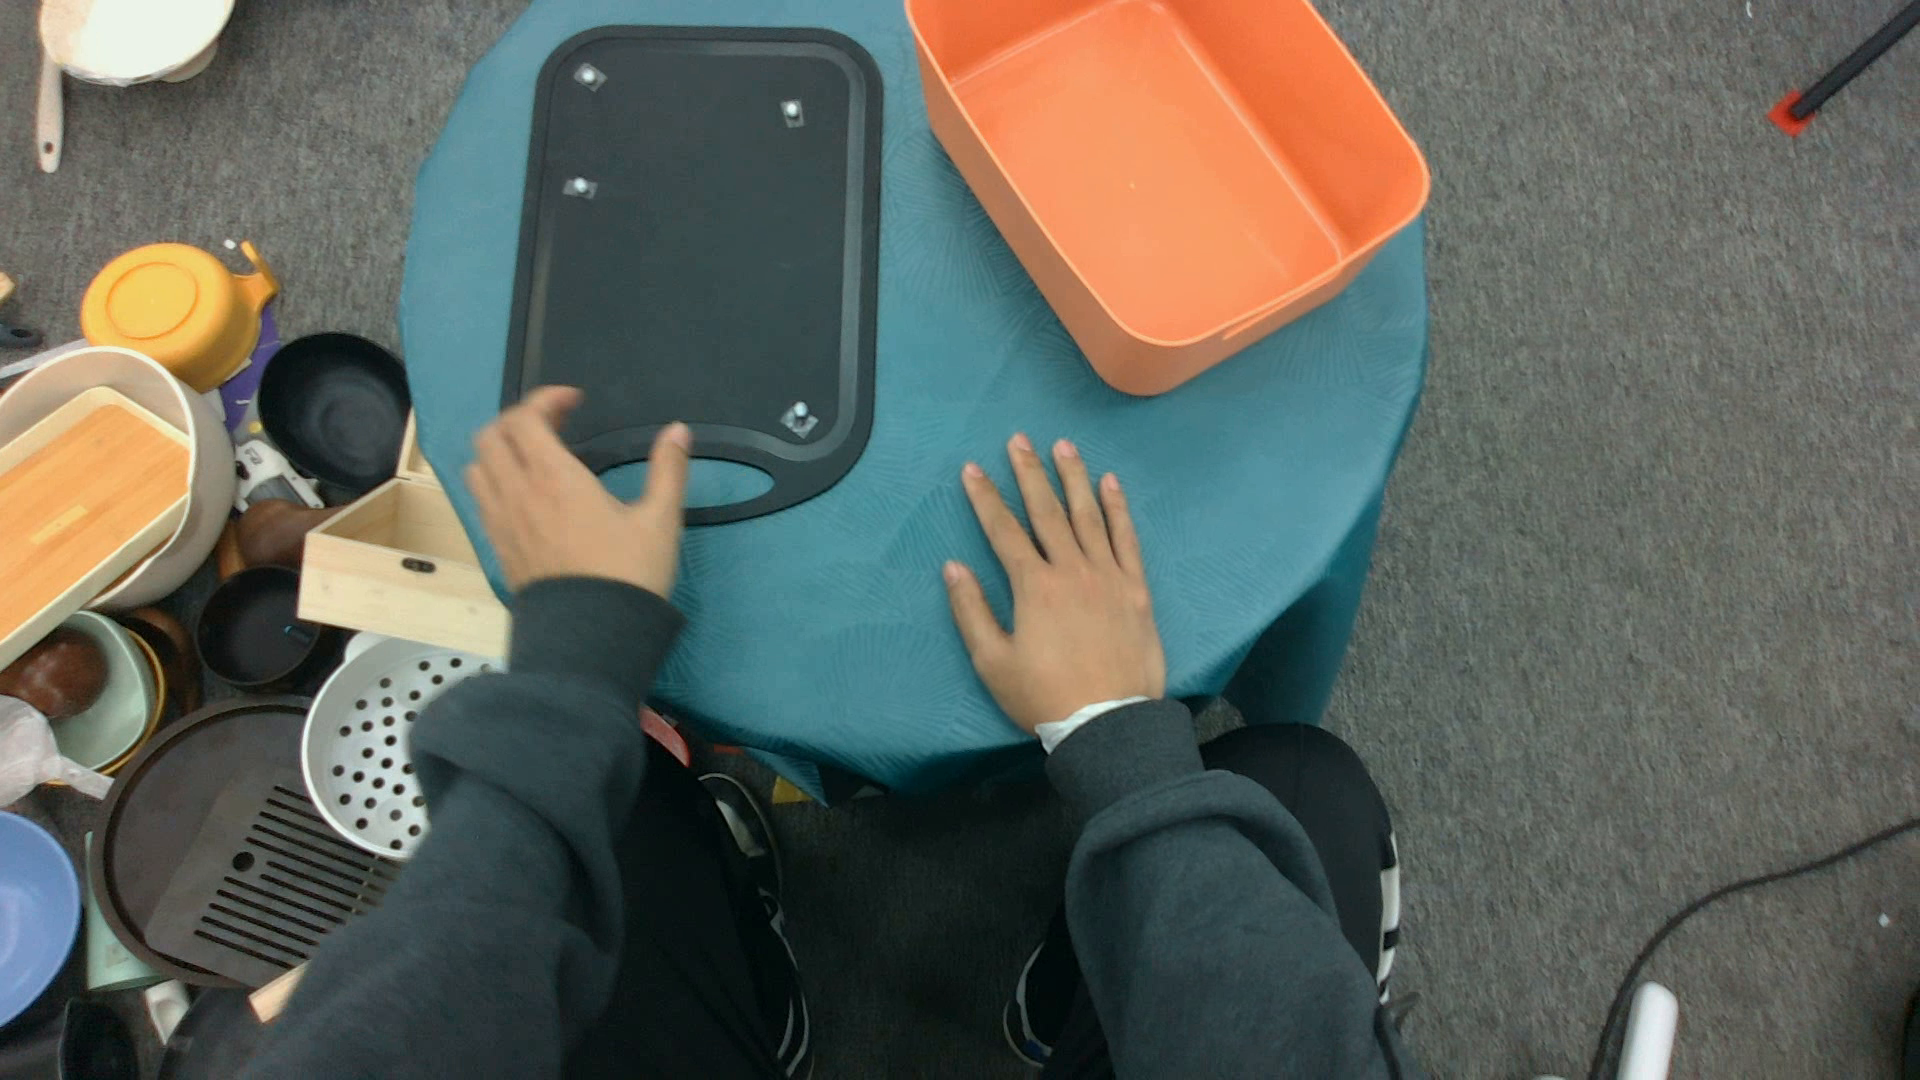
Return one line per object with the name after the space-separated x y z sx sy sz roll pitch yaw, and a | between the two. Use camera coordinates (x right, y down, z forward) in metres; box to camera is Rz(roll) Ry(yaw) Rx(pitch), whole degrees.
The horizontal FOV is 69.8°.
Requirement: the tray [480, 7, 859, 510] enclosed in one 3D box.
-0.165 -0.173 0.801 0.211 0.010 0.326 -1 73 -2 | tray

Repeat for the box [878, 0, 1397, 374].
0.089 -0.237 0.777 0.200 0.102 0.273 -31 76 -11 | box
